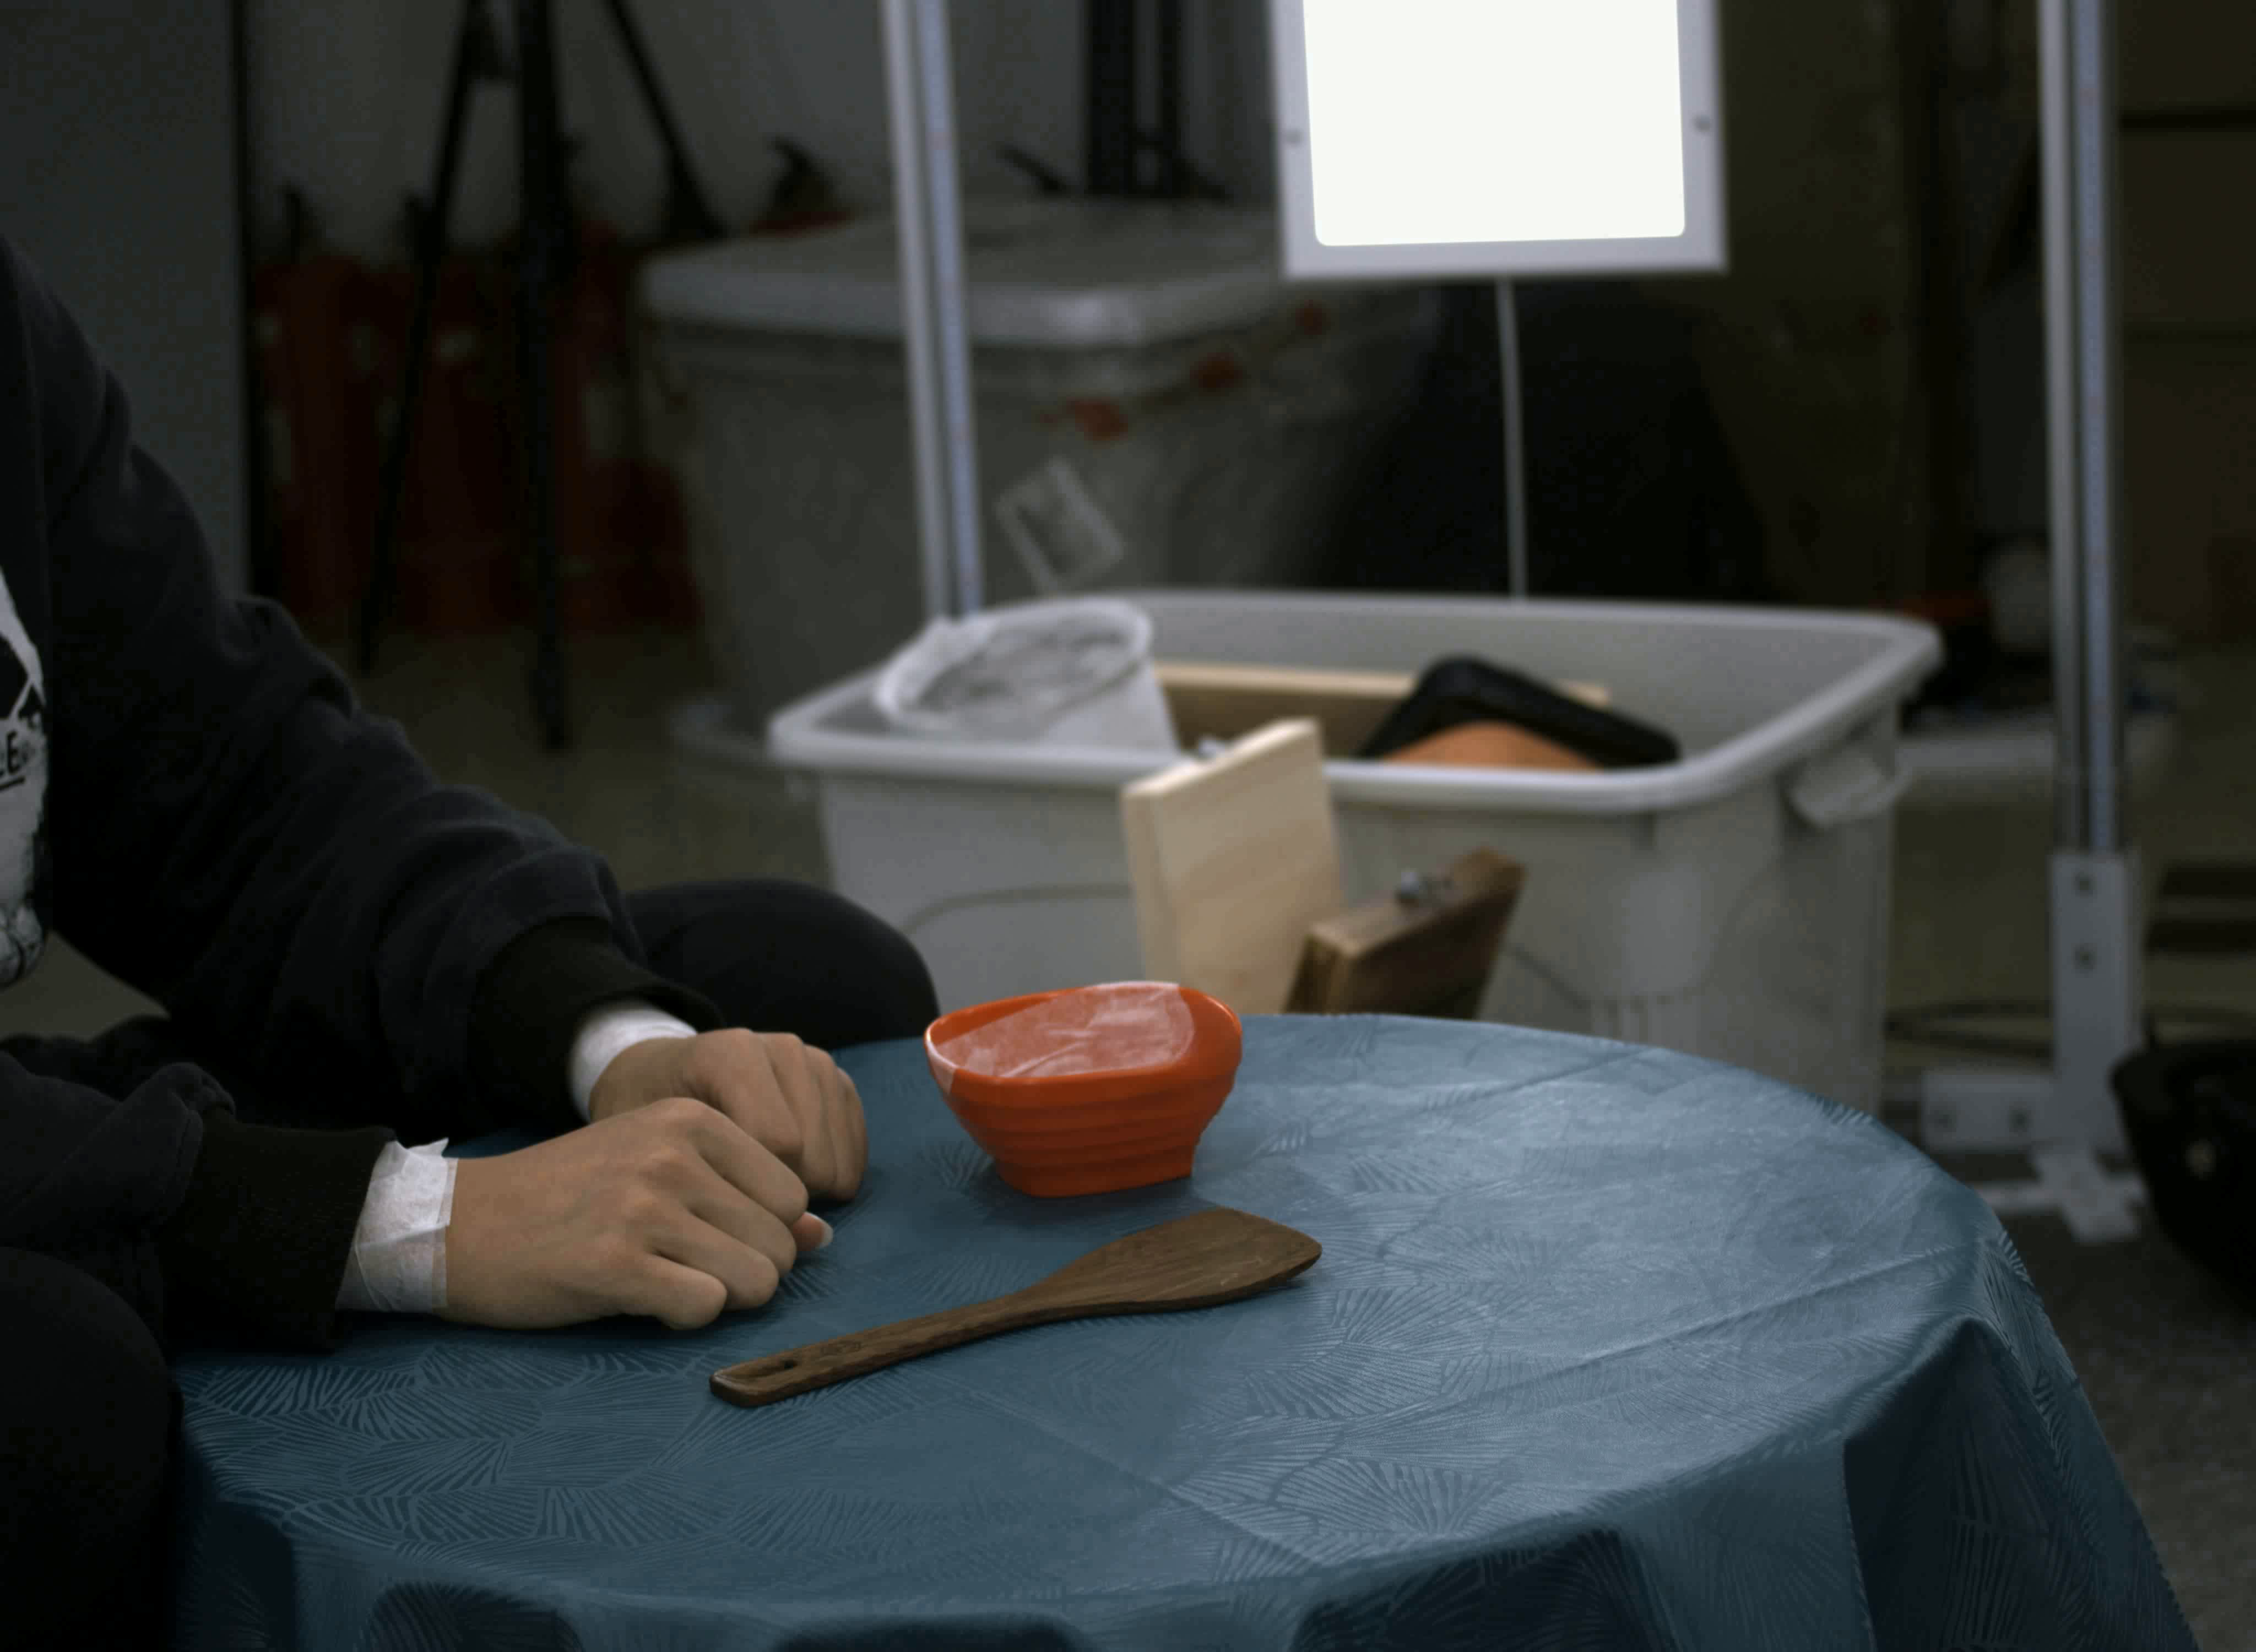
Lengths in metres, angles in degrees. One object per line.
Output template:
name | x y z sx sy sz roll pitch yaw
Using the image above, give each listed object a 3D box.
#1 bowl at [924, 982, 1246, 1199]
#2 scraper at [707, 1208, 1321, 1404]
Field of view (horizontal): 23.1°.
bowl | -0.015 0.095 1.926 0.118 0.051 0.119 -3 15 -1
scraper | -0.039 0.157 1.772 0.206 0.011 0.077 -13 14 -27
